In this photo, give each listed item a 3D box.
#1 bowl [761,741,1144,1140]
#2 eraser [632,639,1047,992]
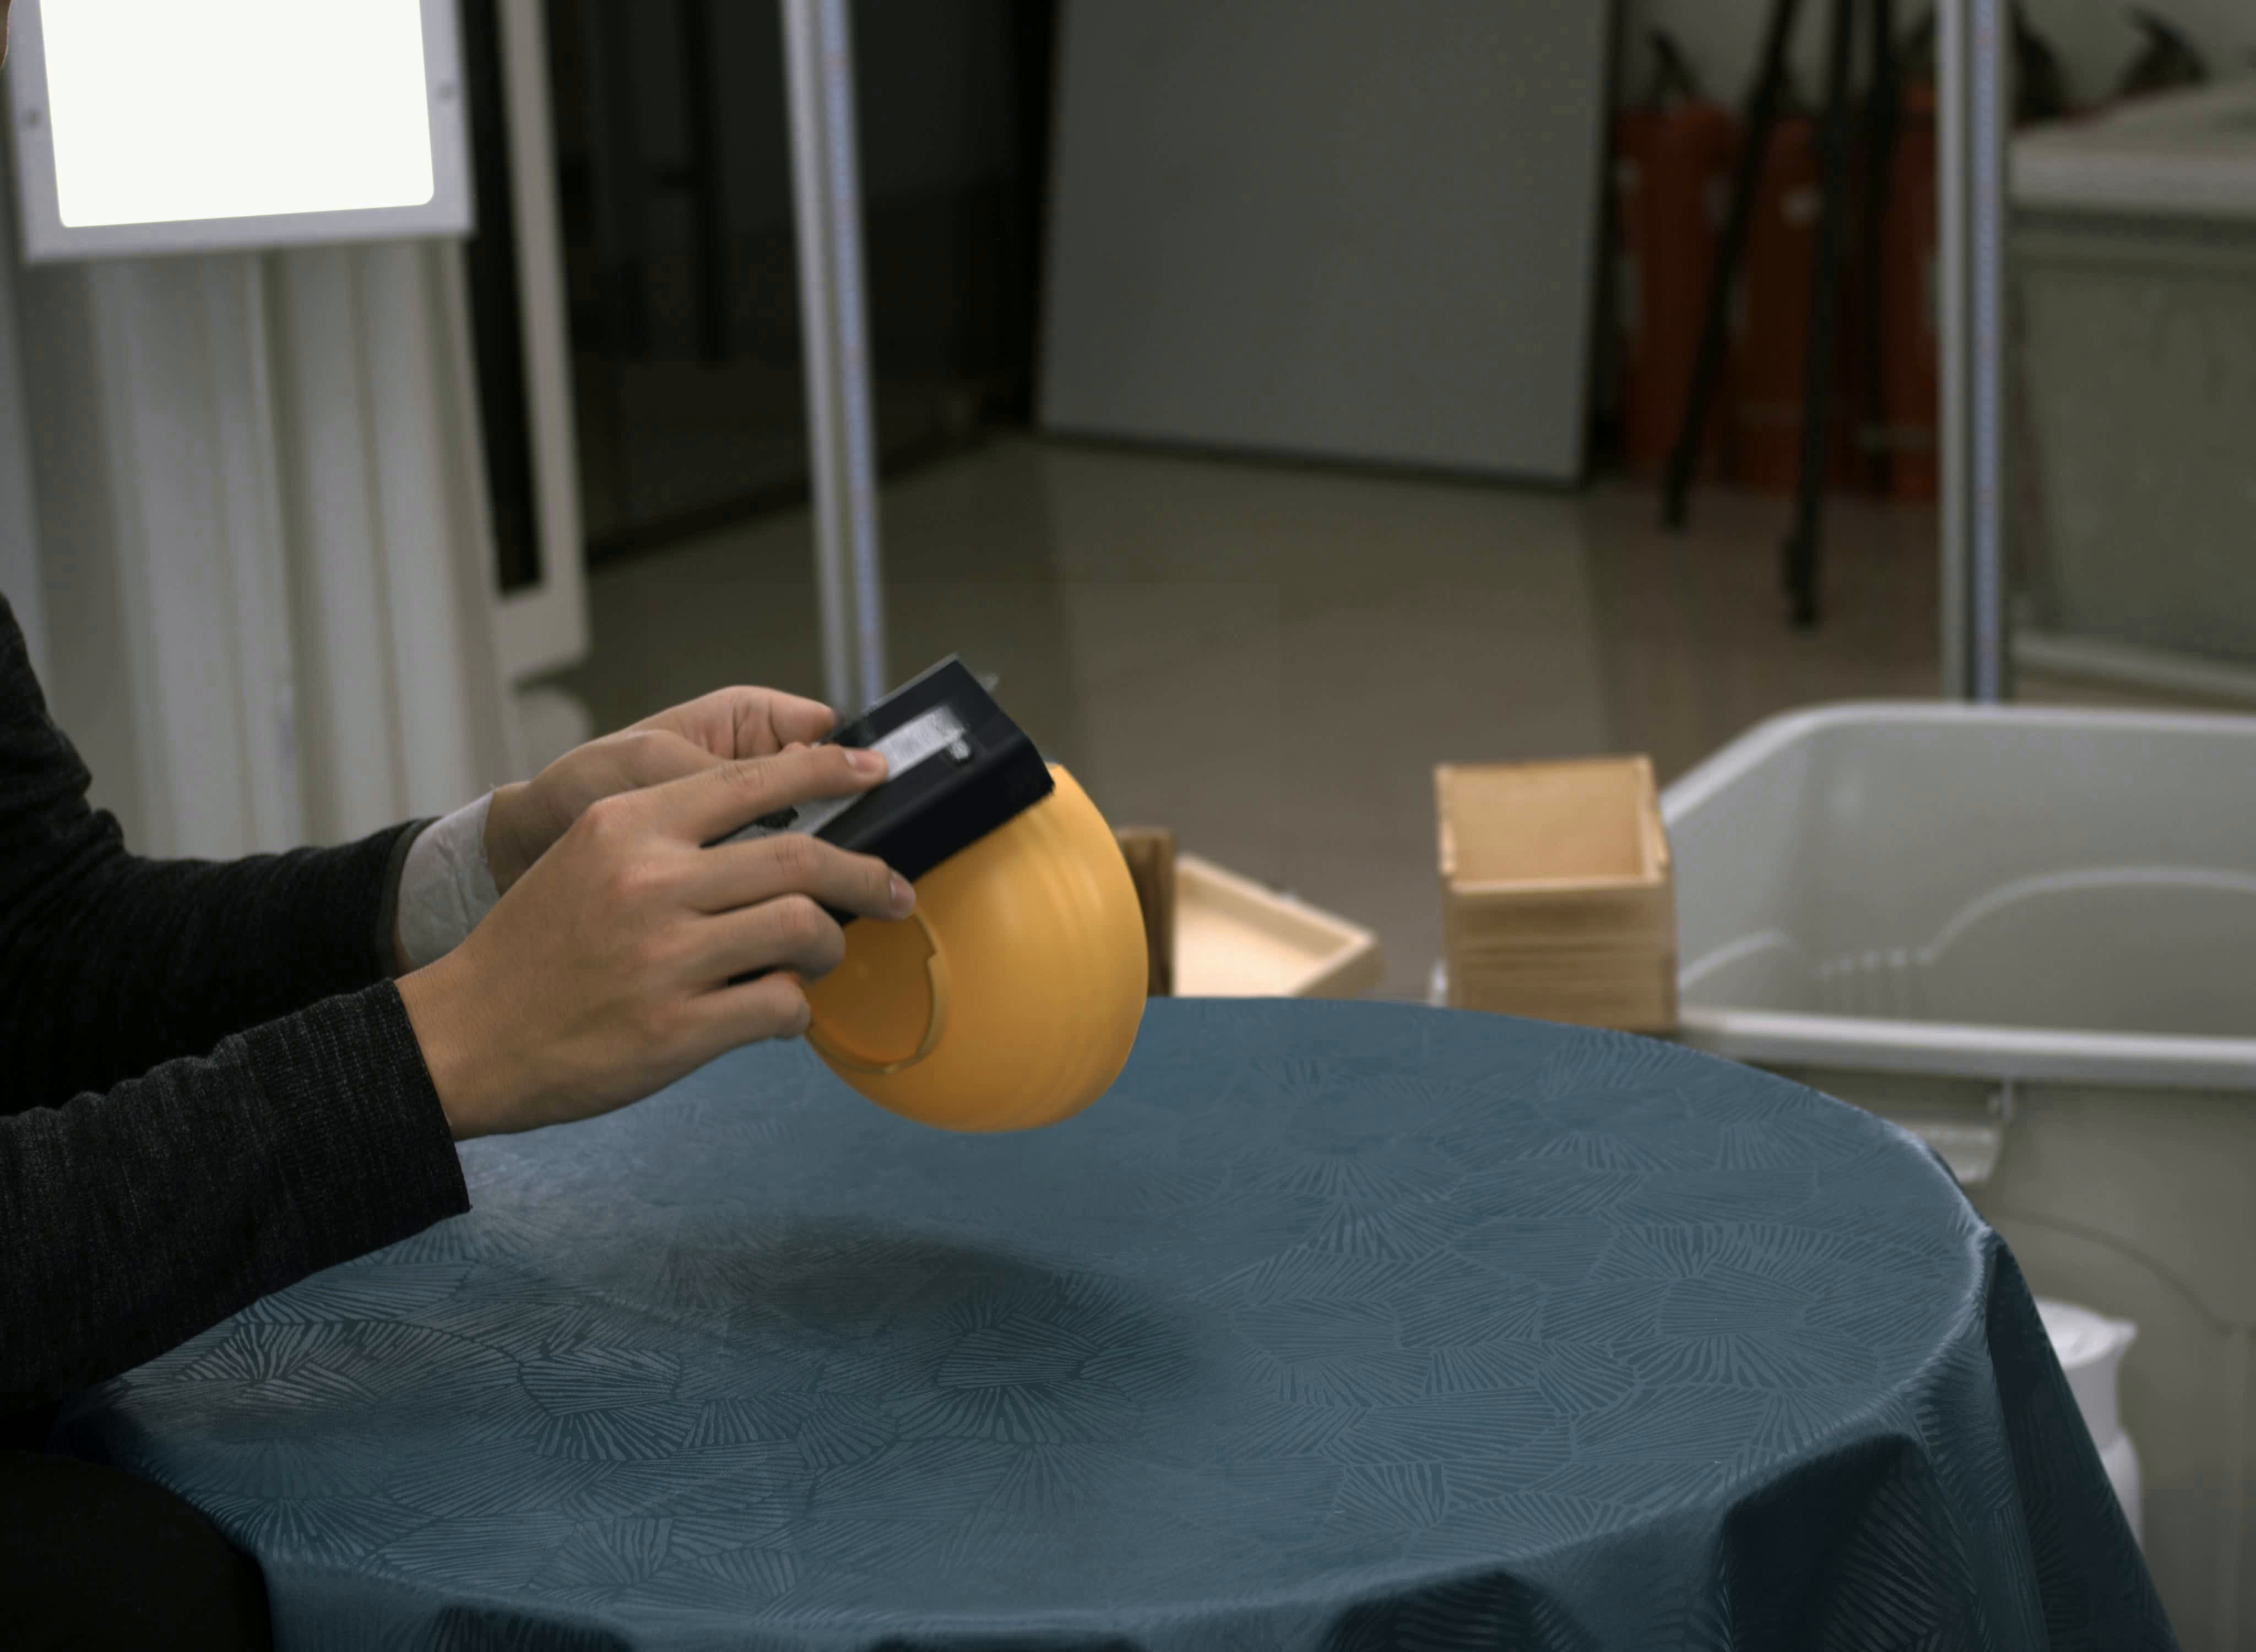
[{"bbox_3d":[-0.069,0.037,1.688,0.146,0.147,0.059,7,21,38],"label":"bowl"},{"bbox_3d":[-0.087,-0.005,1.641,0.124,0.030,0.054,-36,42,-10],"label":"eraser"}]
